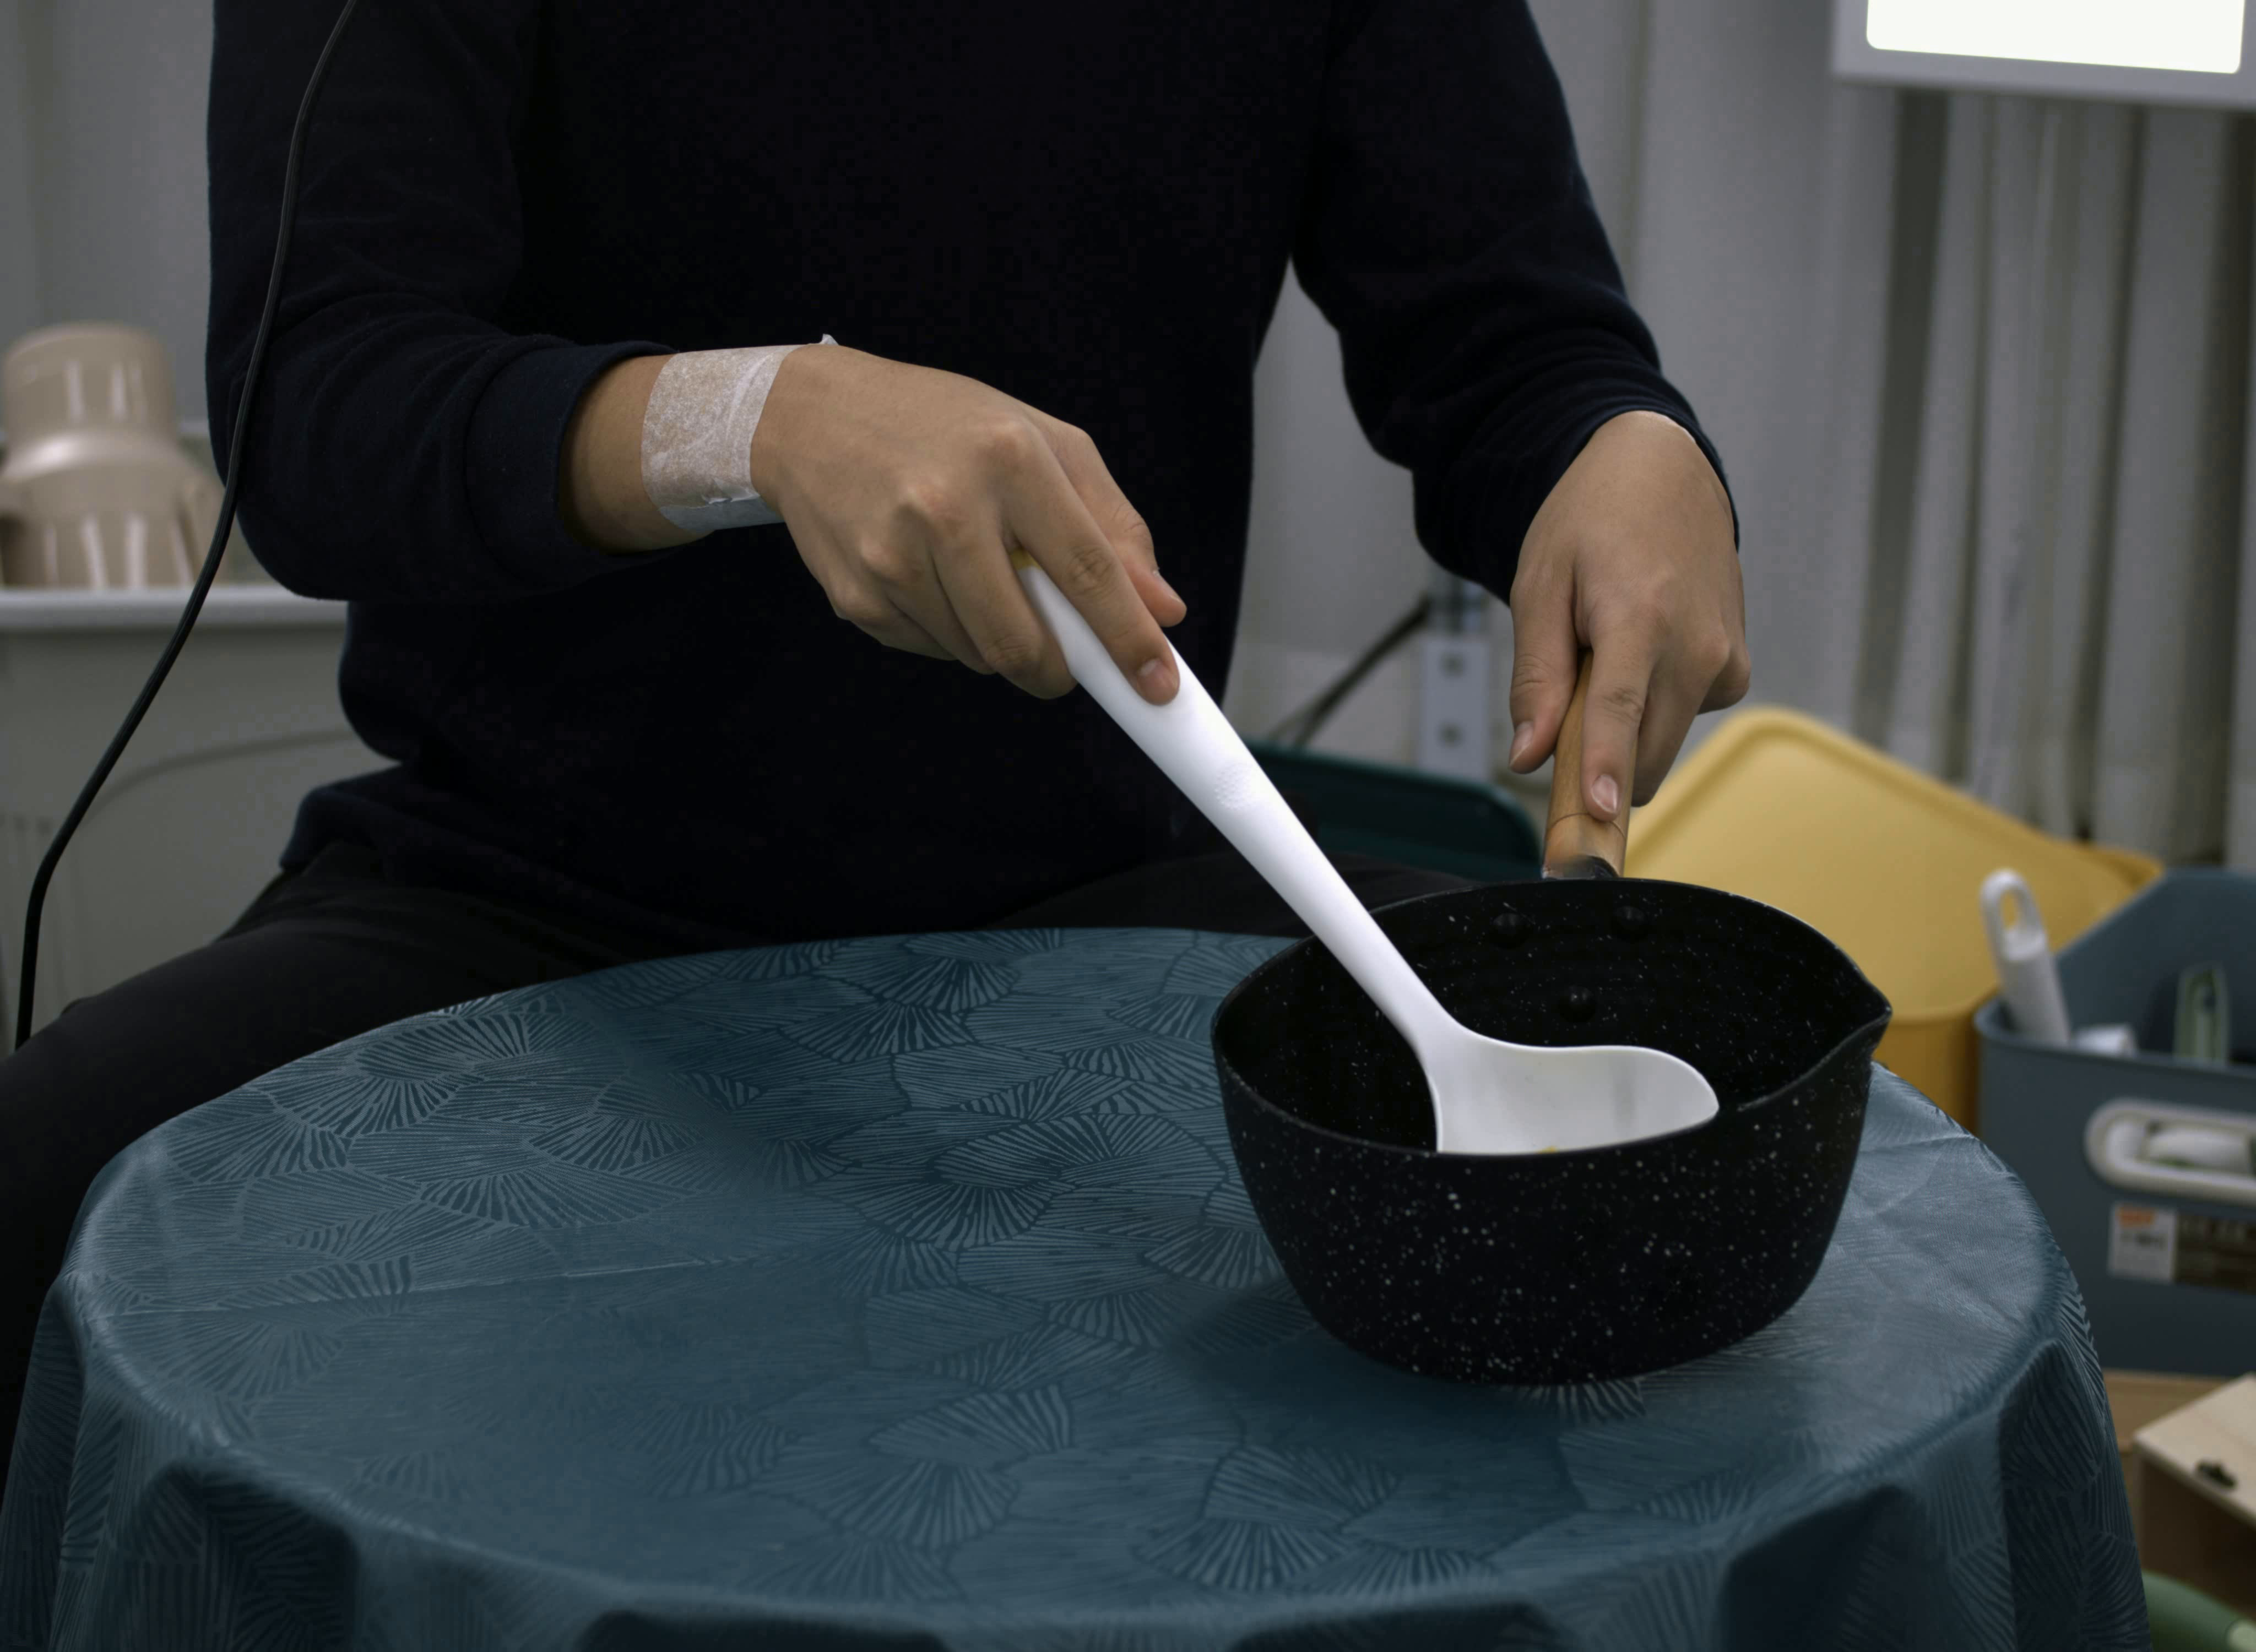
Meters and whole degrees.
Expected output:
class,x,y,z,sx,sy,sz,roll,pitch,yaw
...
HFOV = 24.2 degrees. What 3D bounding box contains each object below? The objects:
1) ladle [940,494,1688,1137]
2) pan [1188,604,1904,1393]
class,x,y,z,sx,sy,sz,roll,pitch,yaw
ladle,0.048,0.017,1.532,0.090,0.292,0.070,-39,-6,-5
pan,0.131,0.047,1.579,0.206,0.109,0.341,-3,25,10
